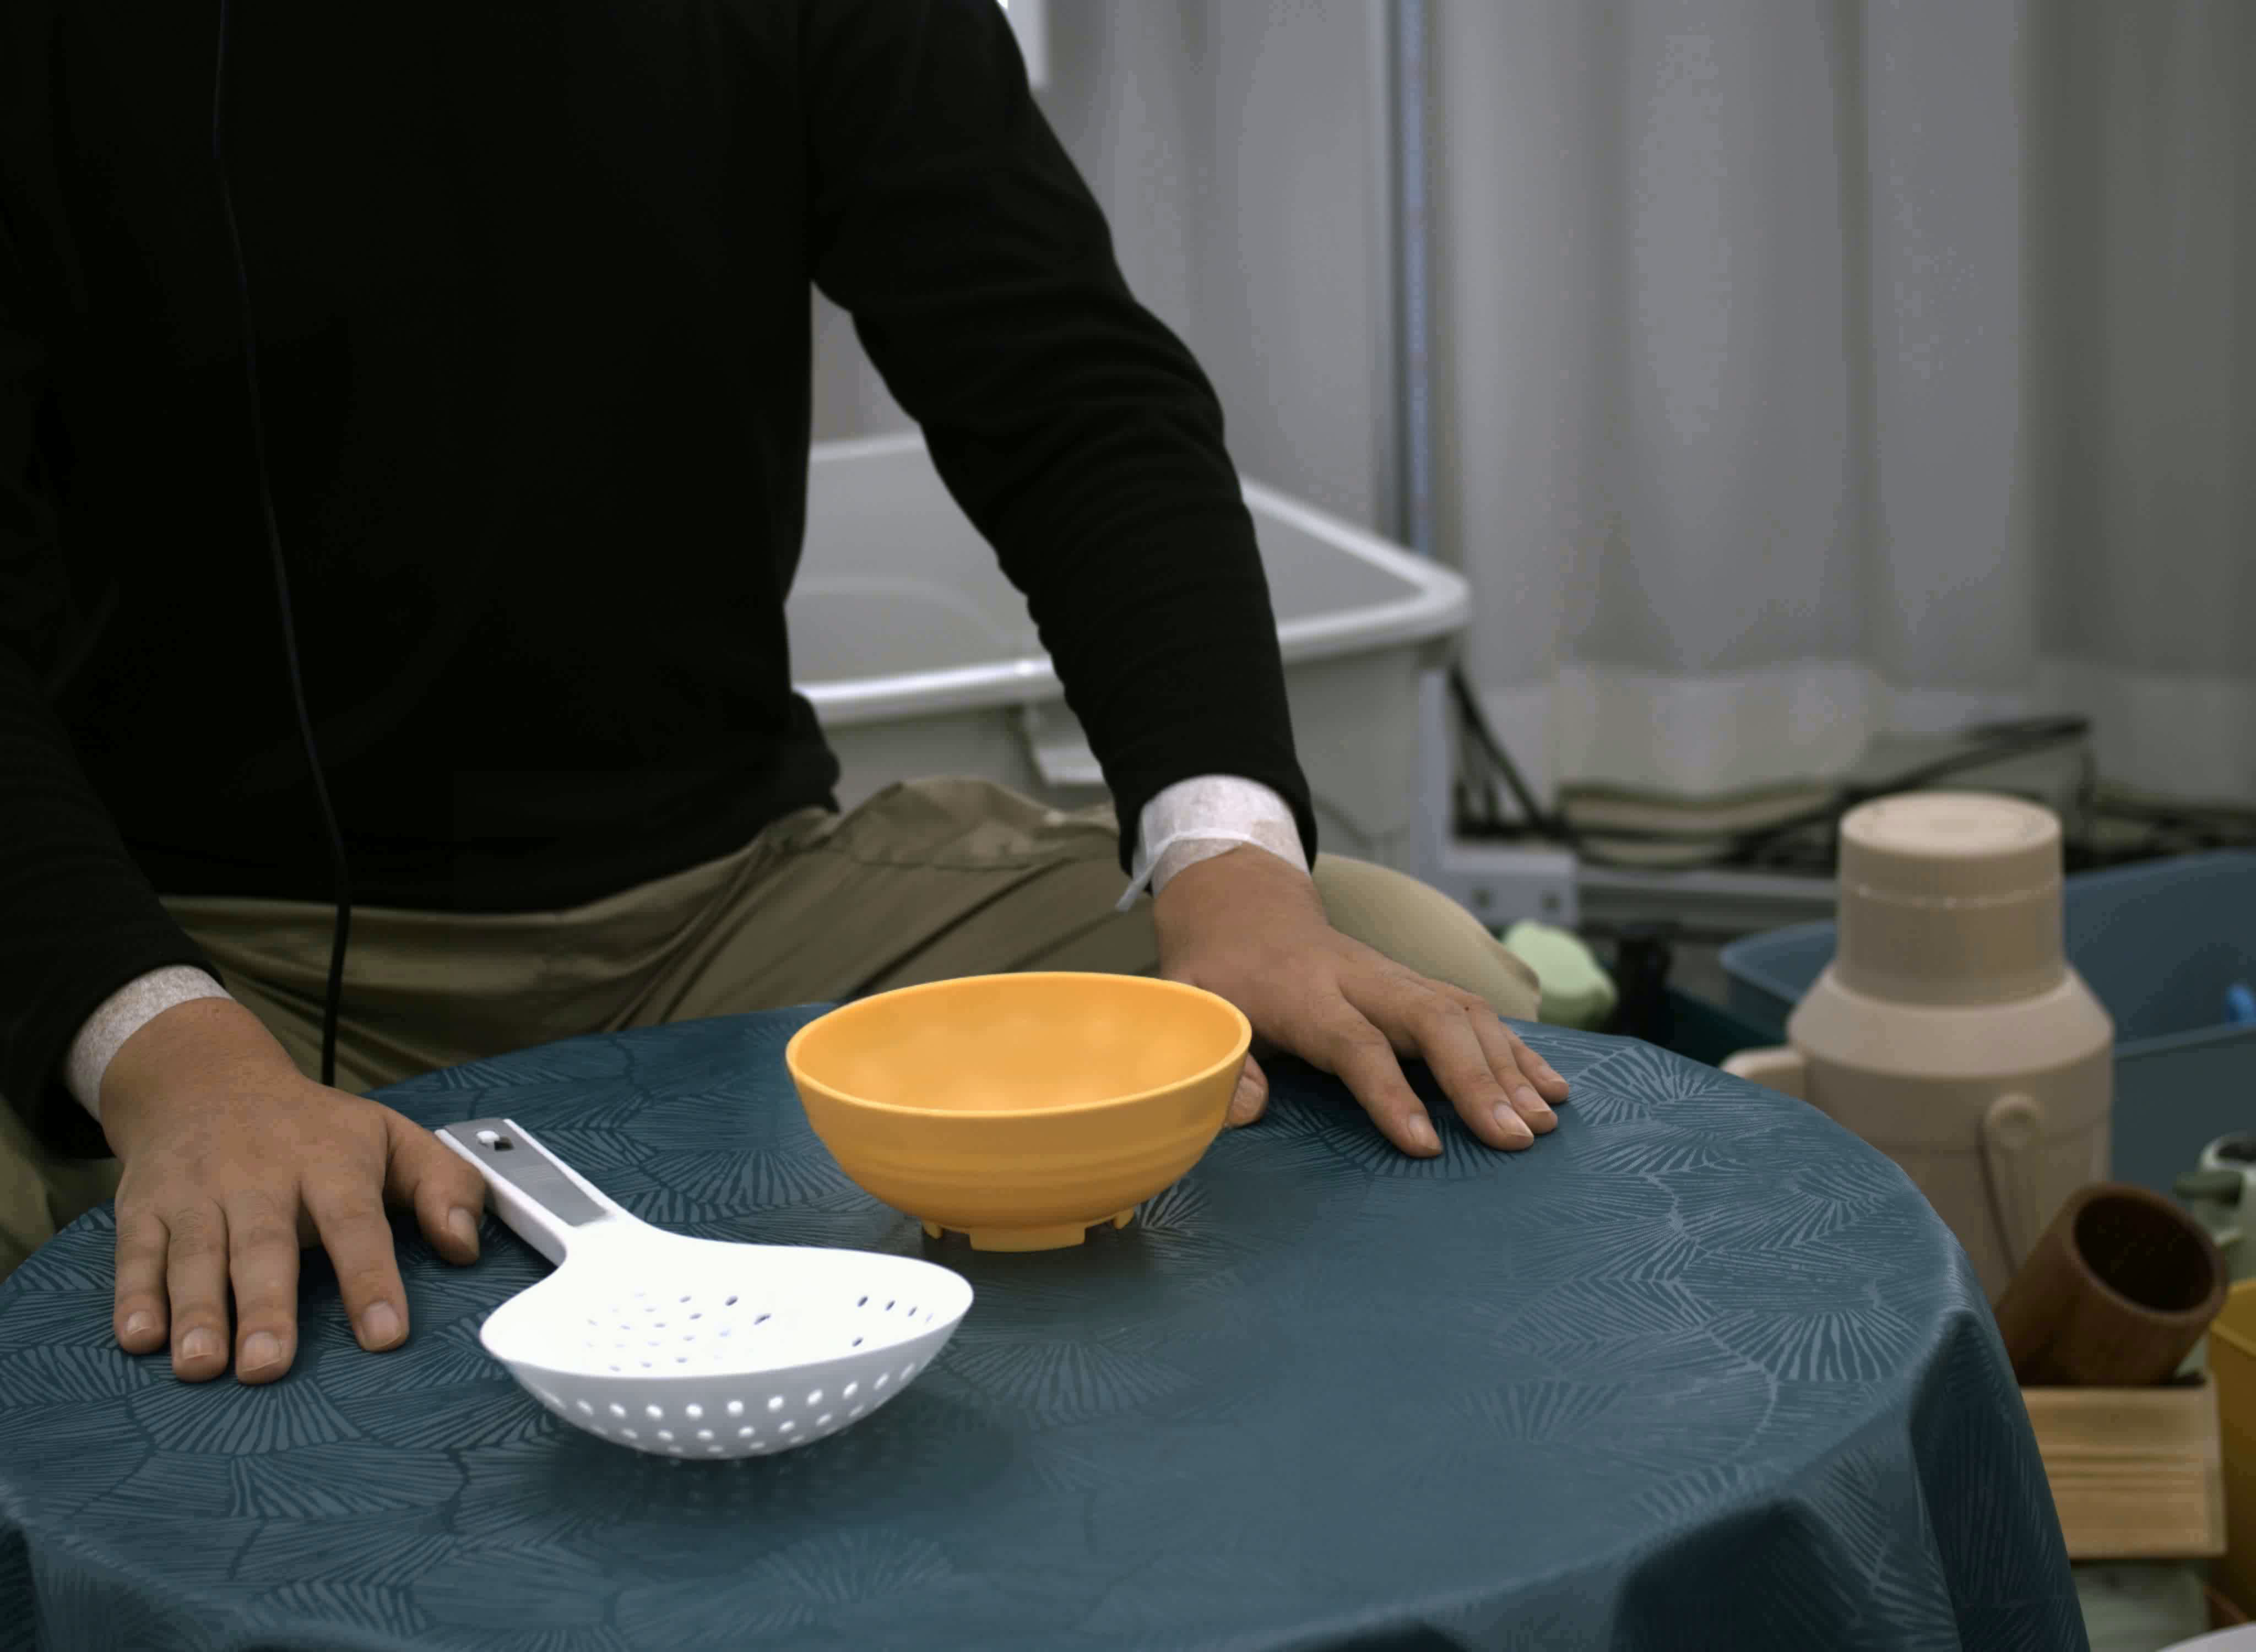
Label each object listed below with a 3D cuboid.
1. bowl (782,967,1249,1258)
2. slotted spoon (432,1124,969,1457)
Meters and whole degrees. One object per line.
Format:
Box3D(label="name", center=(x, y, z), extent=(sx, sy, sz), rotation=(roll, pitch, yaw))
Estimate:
Box3D(label="bowl", center=(-0.034, 0.094, 1.690), extent=(0.145, 0.060, 0.146), rotation=(-1, 16, 0))
Box3D(label="slotted spoon", center=(-0.151, 0.127, 1.609), extent=(0.135, 0.045, 0.352), rotation=(-8, 14, -20))
